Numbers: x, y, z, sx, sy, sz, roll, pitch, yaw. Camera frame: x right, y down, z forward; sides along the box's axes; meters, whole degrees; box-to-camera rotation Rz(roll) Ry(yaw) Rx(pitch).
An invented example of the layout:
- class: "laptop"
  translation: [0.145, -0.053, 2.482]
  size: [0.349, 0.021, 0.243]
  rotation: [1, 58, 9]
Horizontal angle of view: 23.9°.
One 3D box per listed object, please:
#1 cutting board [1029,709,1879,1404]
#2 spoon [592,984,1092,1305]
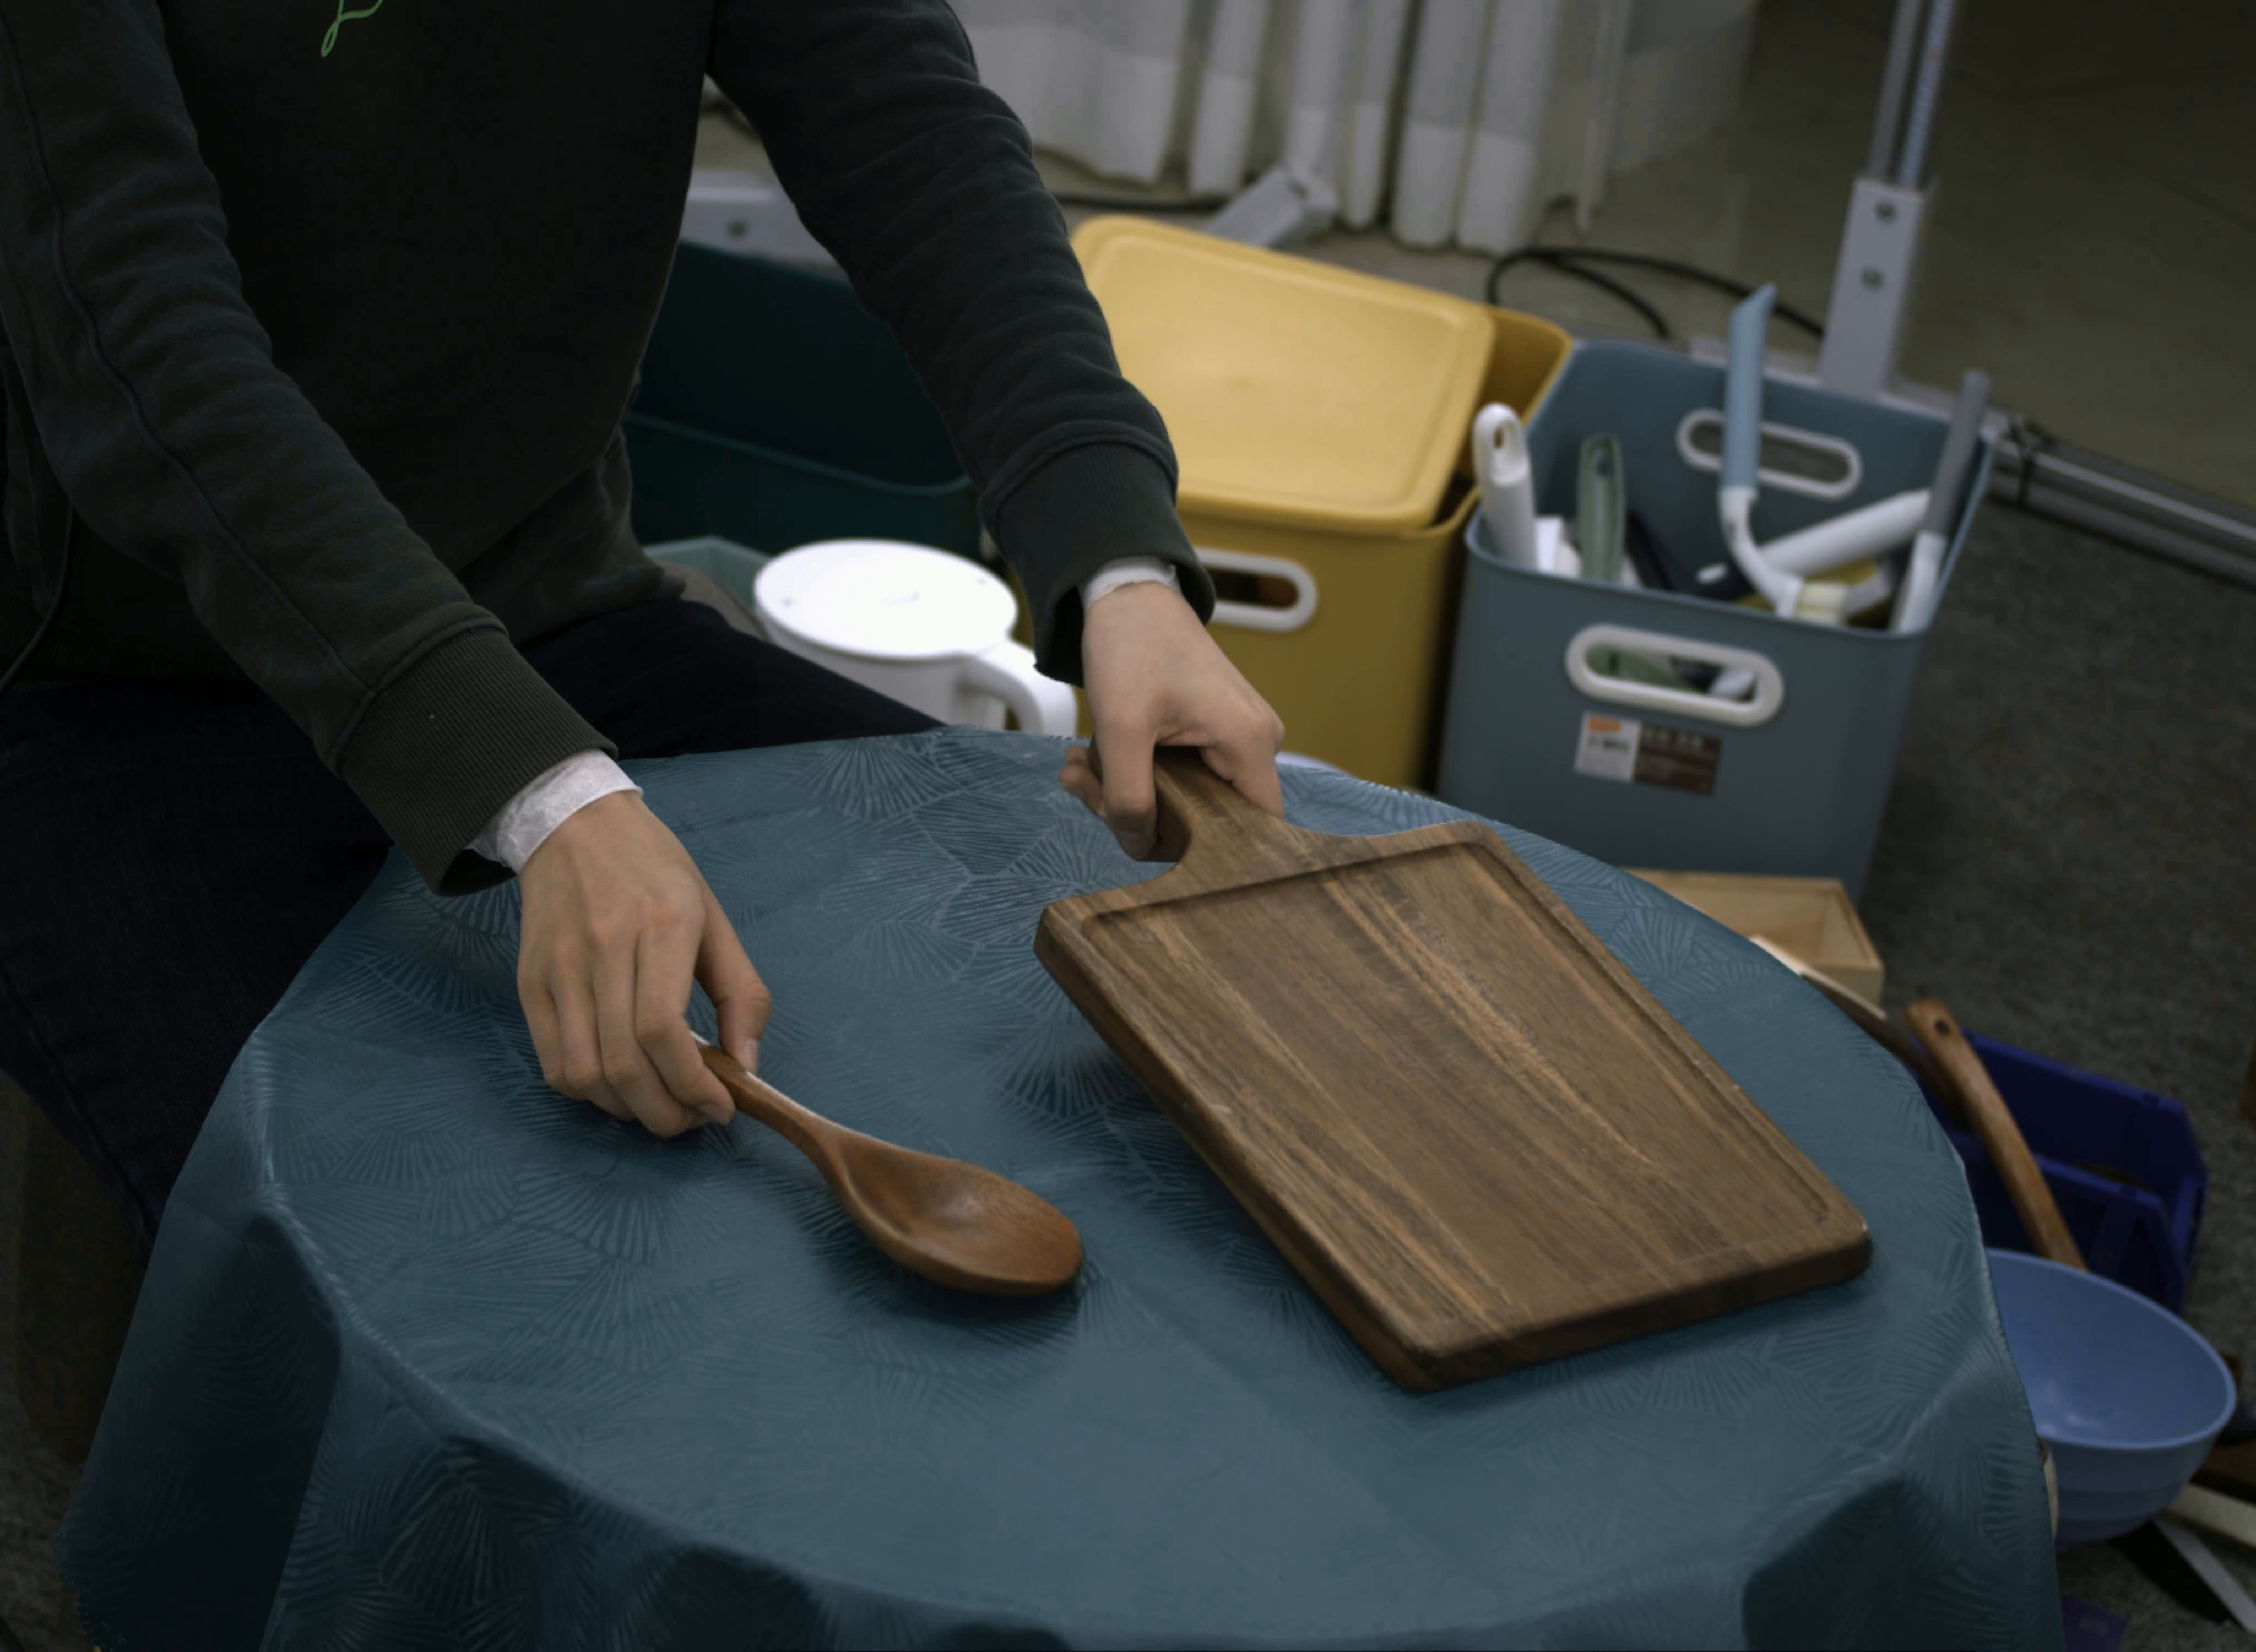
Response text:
- class: "cutting board"
  translation: [0.085, 0.064, 1.861]
  size: [0.200, 0.023, 0.355]
  rotation: [-12, 41, -30]
- class: "spoon"
  translation: [-0.101, 0.107, 1.777]
  size: [0.217, 0.017, 0.075]
  rotation: [31, 31, 32]
